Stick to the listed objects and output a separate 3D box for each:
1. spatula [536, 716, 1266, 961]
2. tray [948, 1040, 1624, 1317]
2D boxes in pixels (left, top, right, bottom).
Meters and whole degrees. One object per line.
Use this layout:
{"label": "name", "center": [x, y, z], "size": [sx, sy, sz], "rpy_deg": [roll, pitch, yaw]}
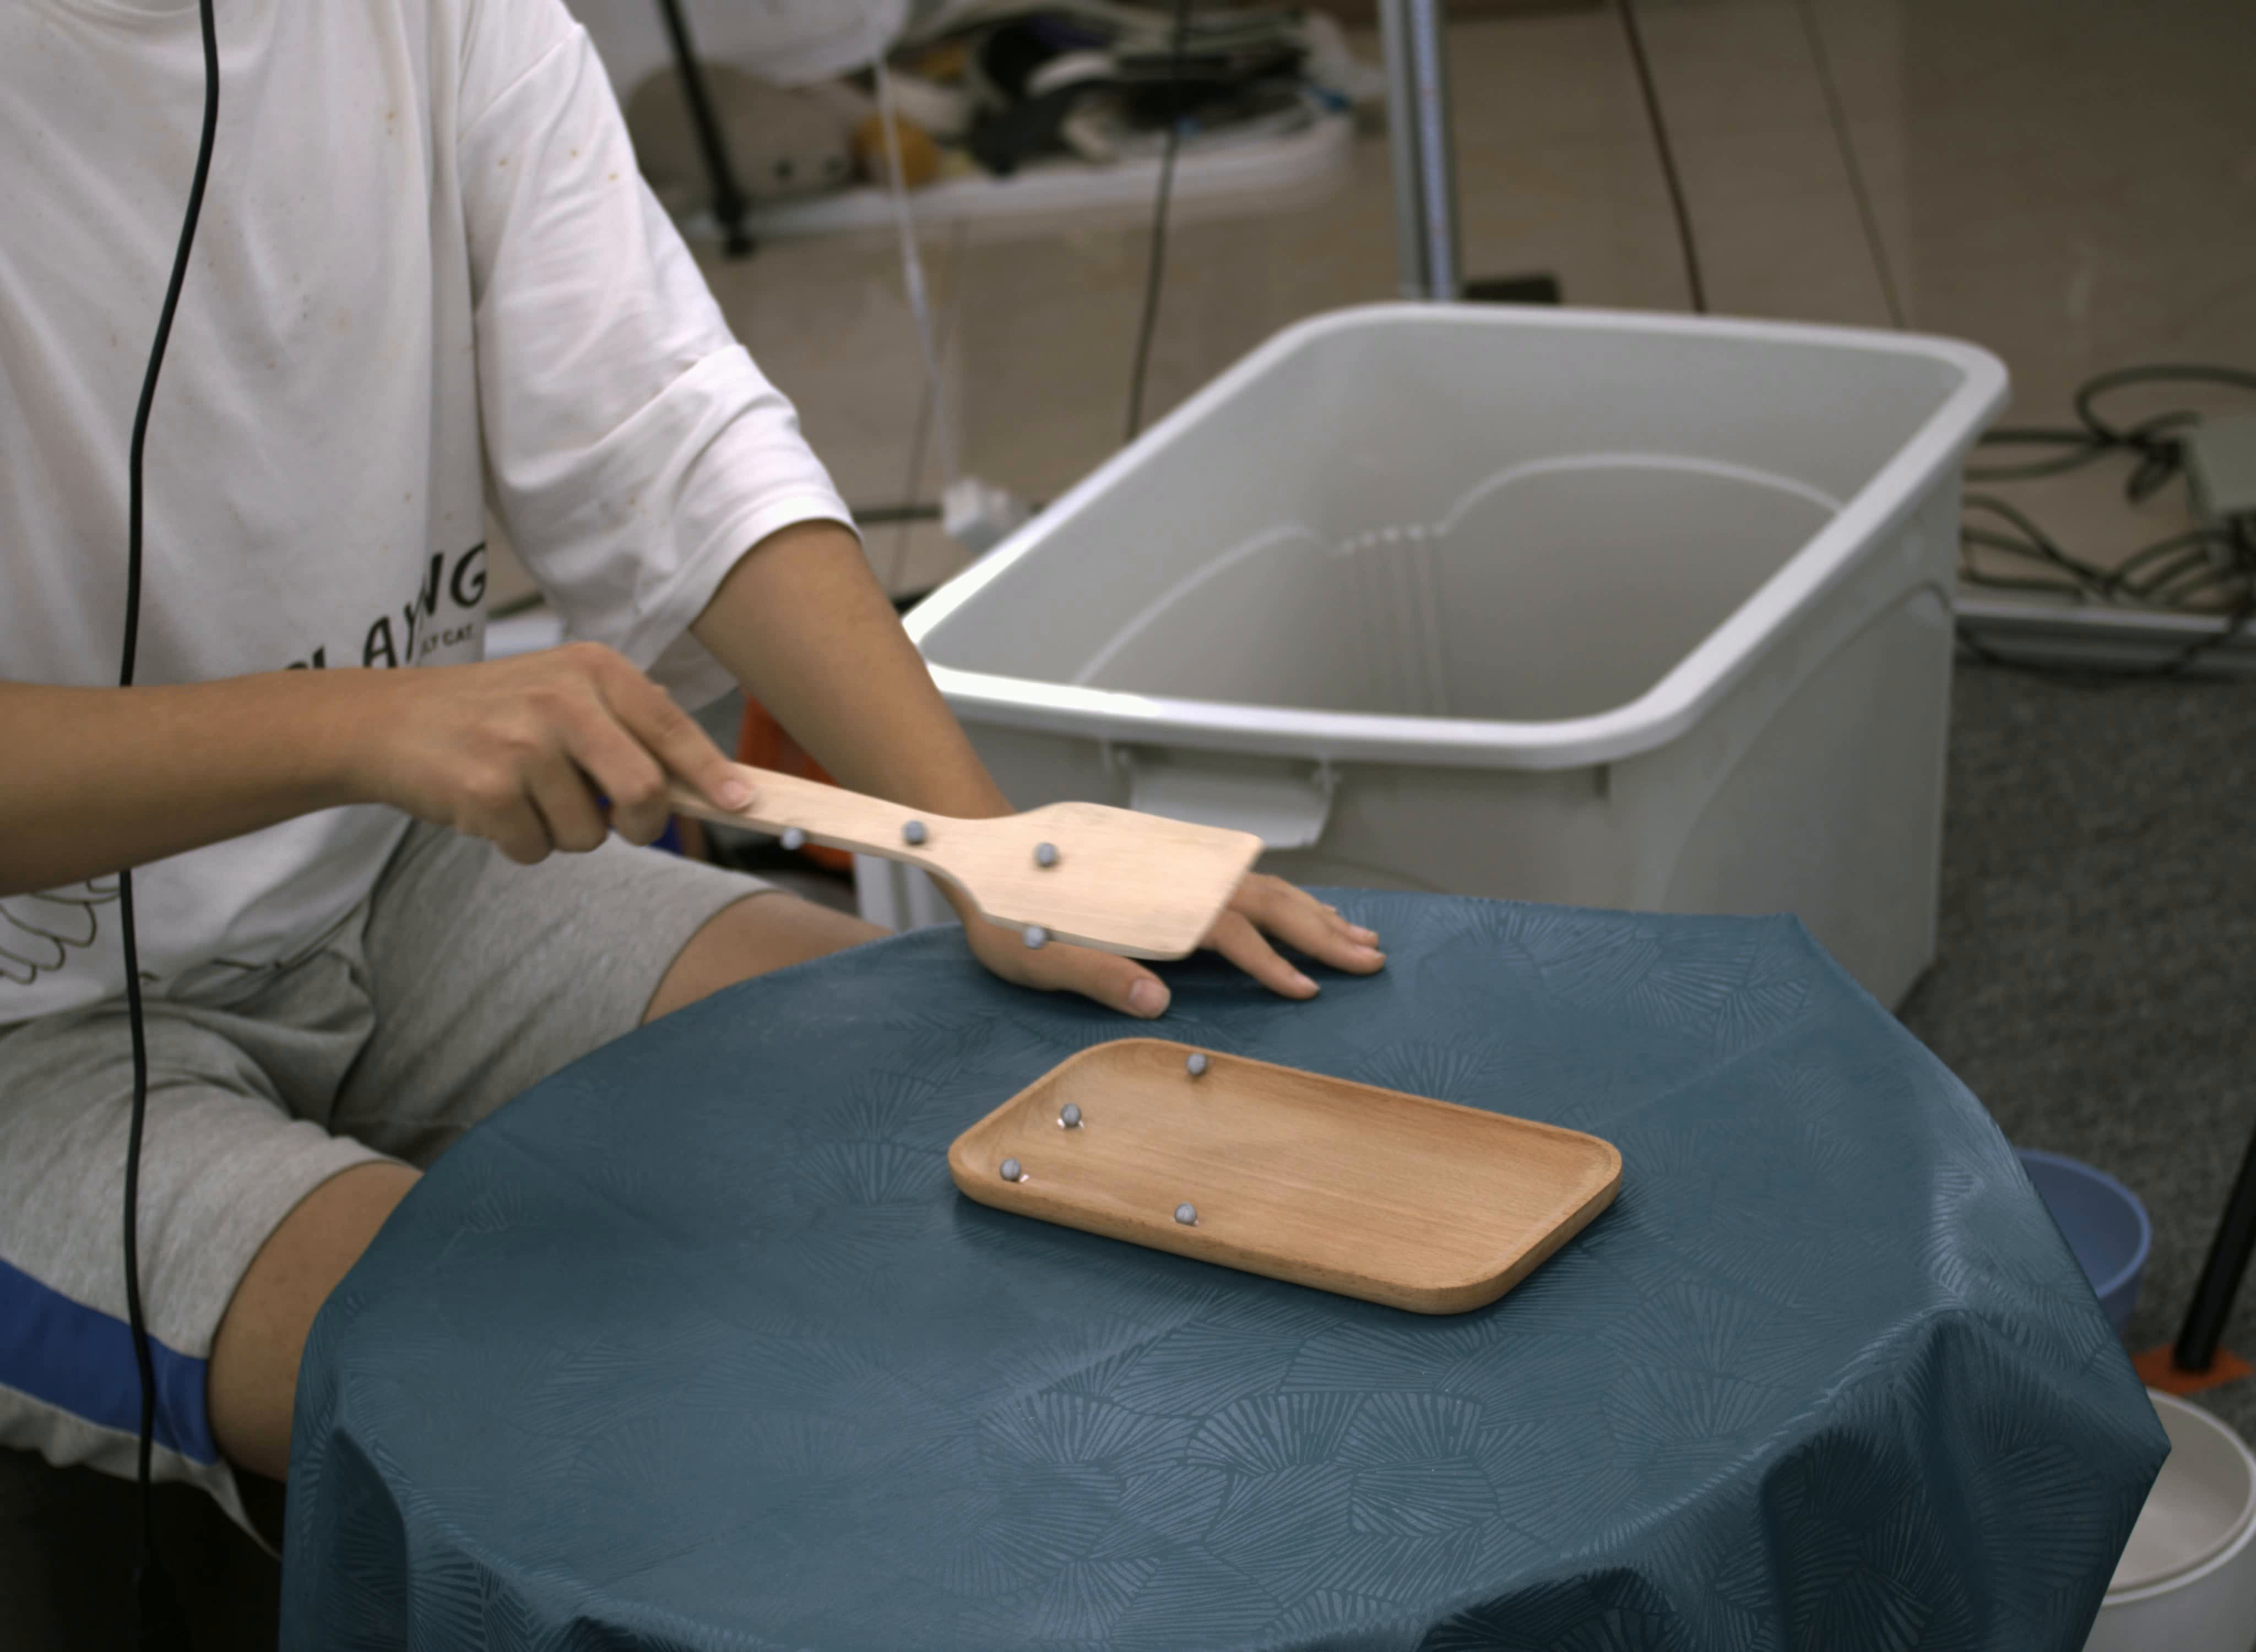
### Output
{"label": "spatula", "center": [-0.093, -0.001, 2.102], "size": [0.291, 0.011, 0.071], "rpy_deg": [14, 44, 23]}
{"label": "tray", "center": [0.058, 0.131, 2.131], "size": [0.249, 0.023, 0.129], "rpy_deg": [13, 33, 35]}
